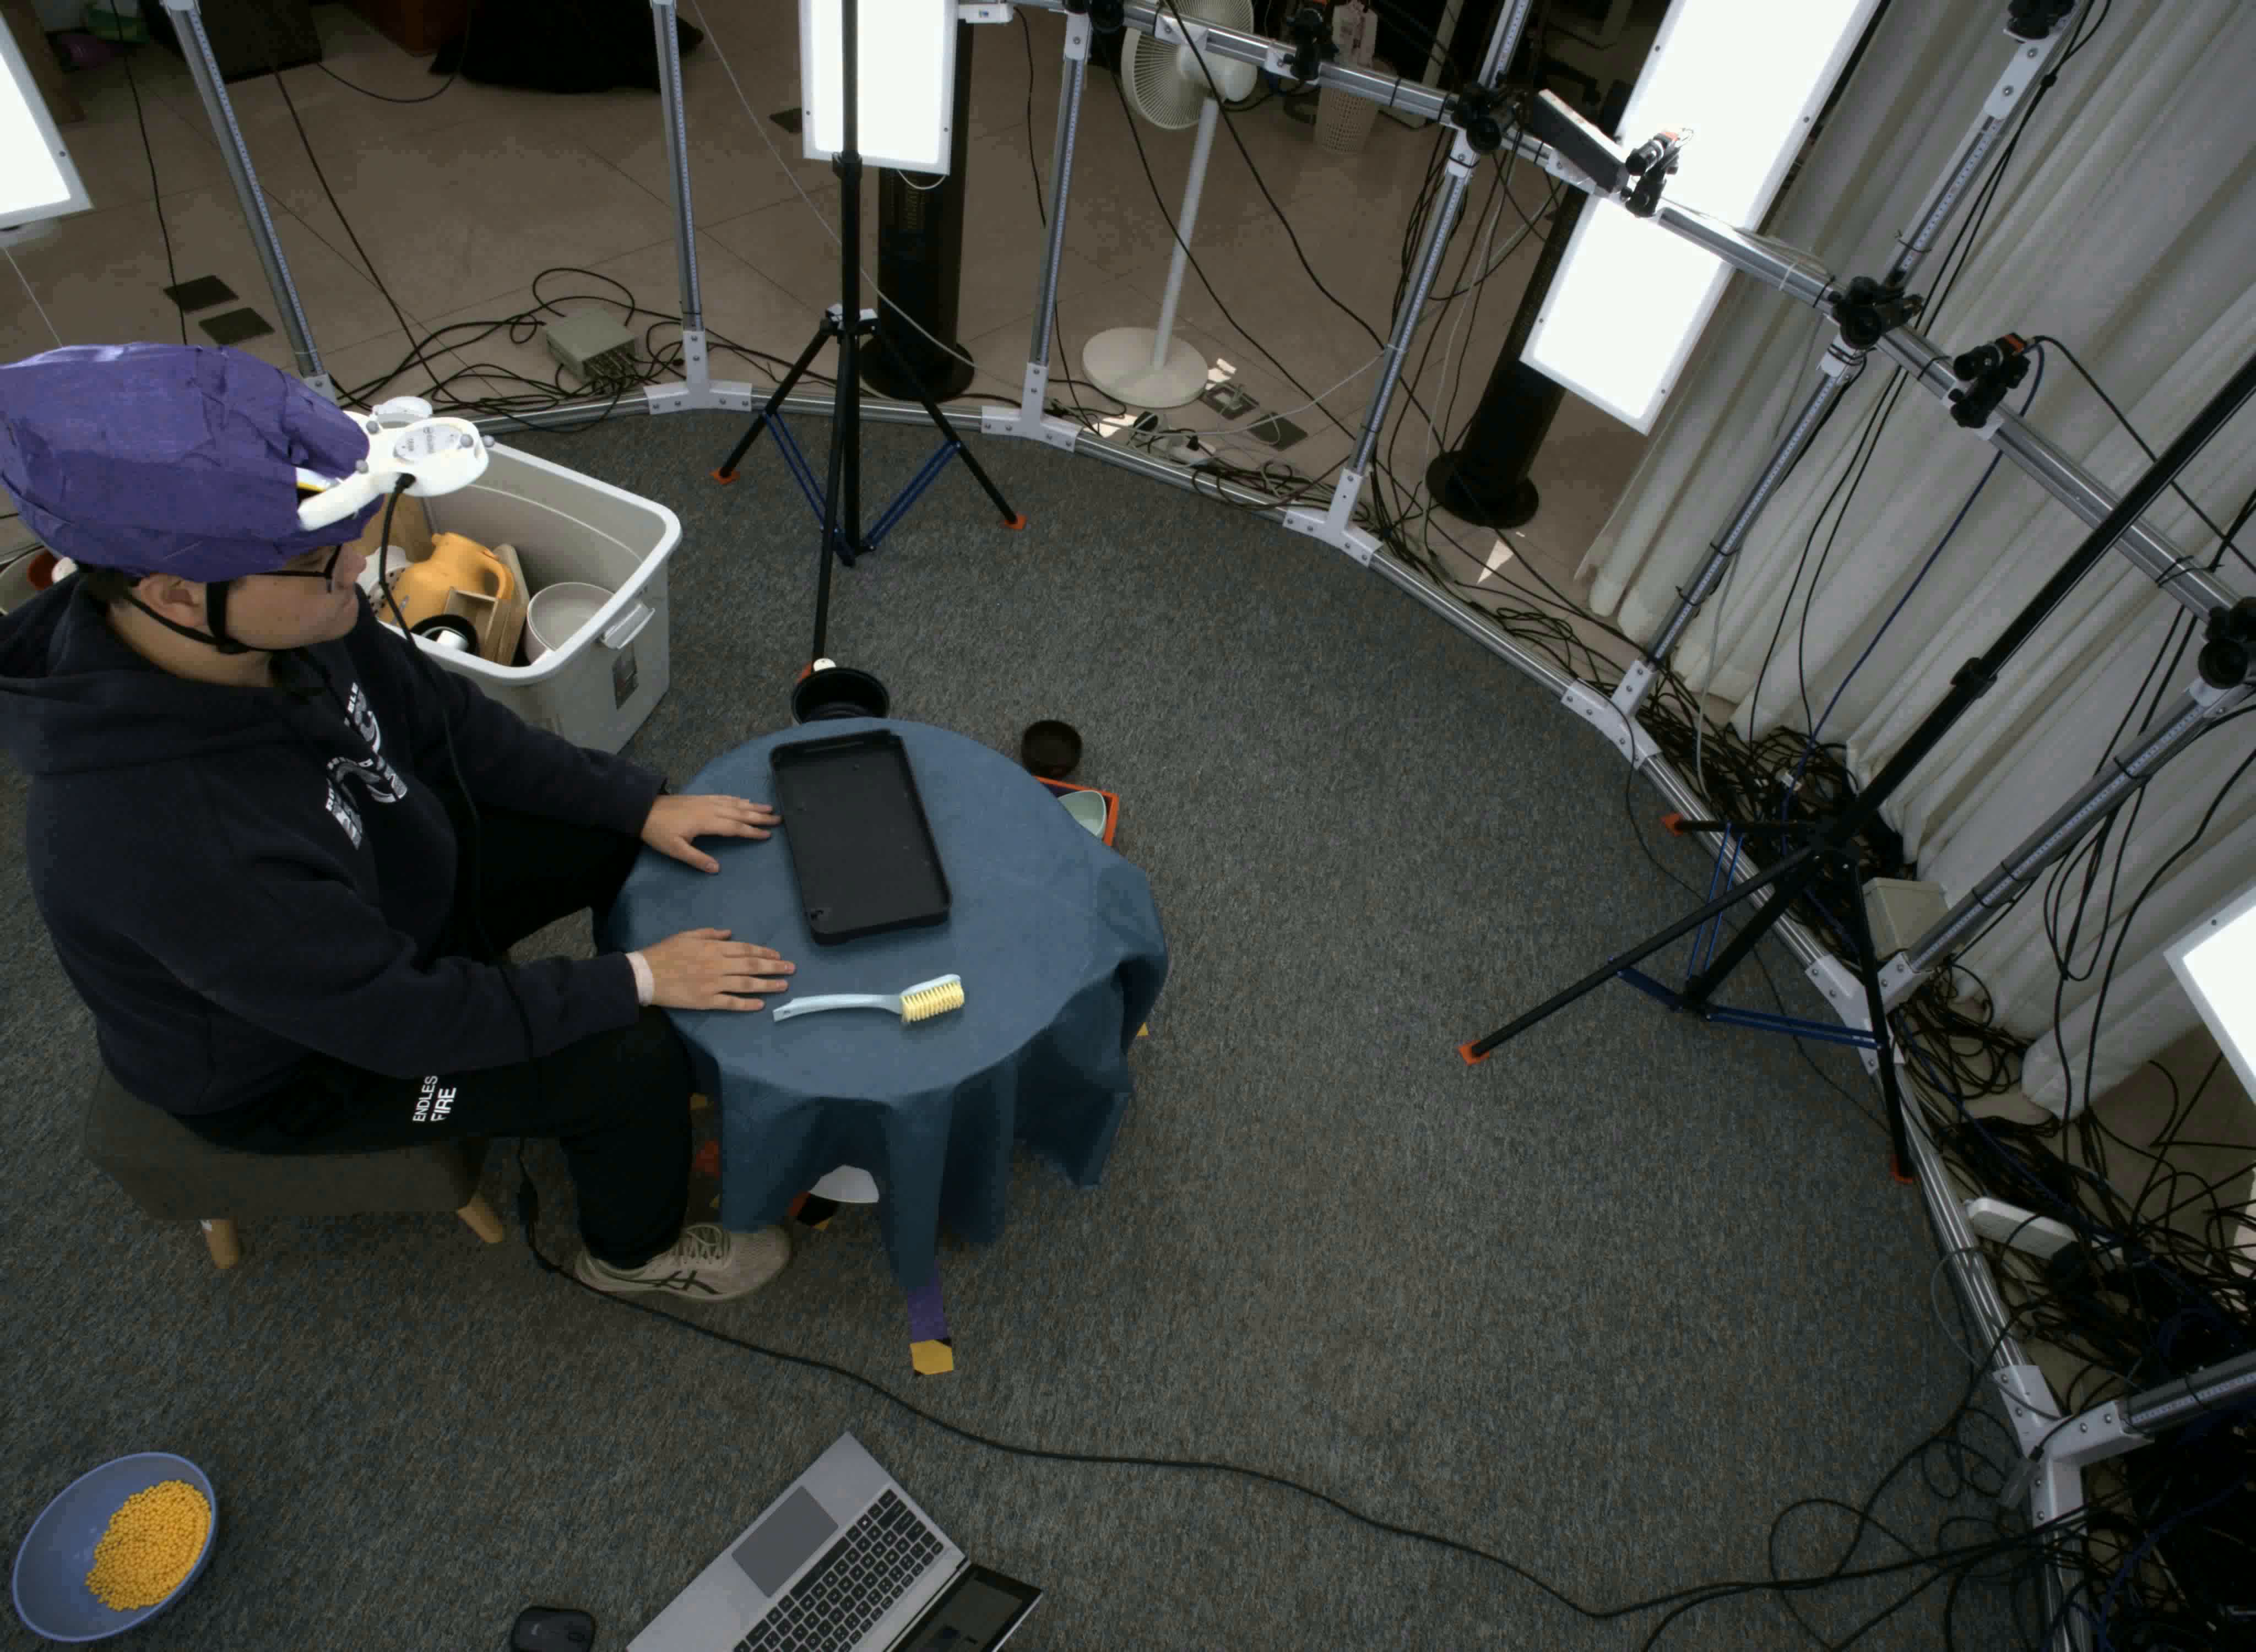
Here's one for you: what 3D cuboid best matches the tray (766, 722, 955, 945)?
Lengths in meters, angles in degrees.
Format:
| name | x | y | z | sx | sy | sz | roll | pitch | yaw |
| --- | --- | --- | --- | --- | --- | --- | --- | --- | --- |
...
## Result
| name | x | y | z | sx | sy | sz | roll | pitch | yaw |
| --- | --- | --- | --- | --- | --- | --- | --- | --- | --- |
| tray | -0.356 | 0.003 | 1.712 | 0.185 | 0.038 | 0.310 | -12 | 58 | -21 |

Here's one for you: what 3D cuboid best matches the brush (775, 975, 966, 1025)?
| name | x | y | z | sx | sy | sz | roll | pitch | yaw |
| --- | --- | --- | --- | --- | --- | --- | --- | --- | --- |
| brush | -0.308 | 0.216 | 1.564 | 0.229 | 0.039 | 0.048 | -5 | 43 | -16 |
